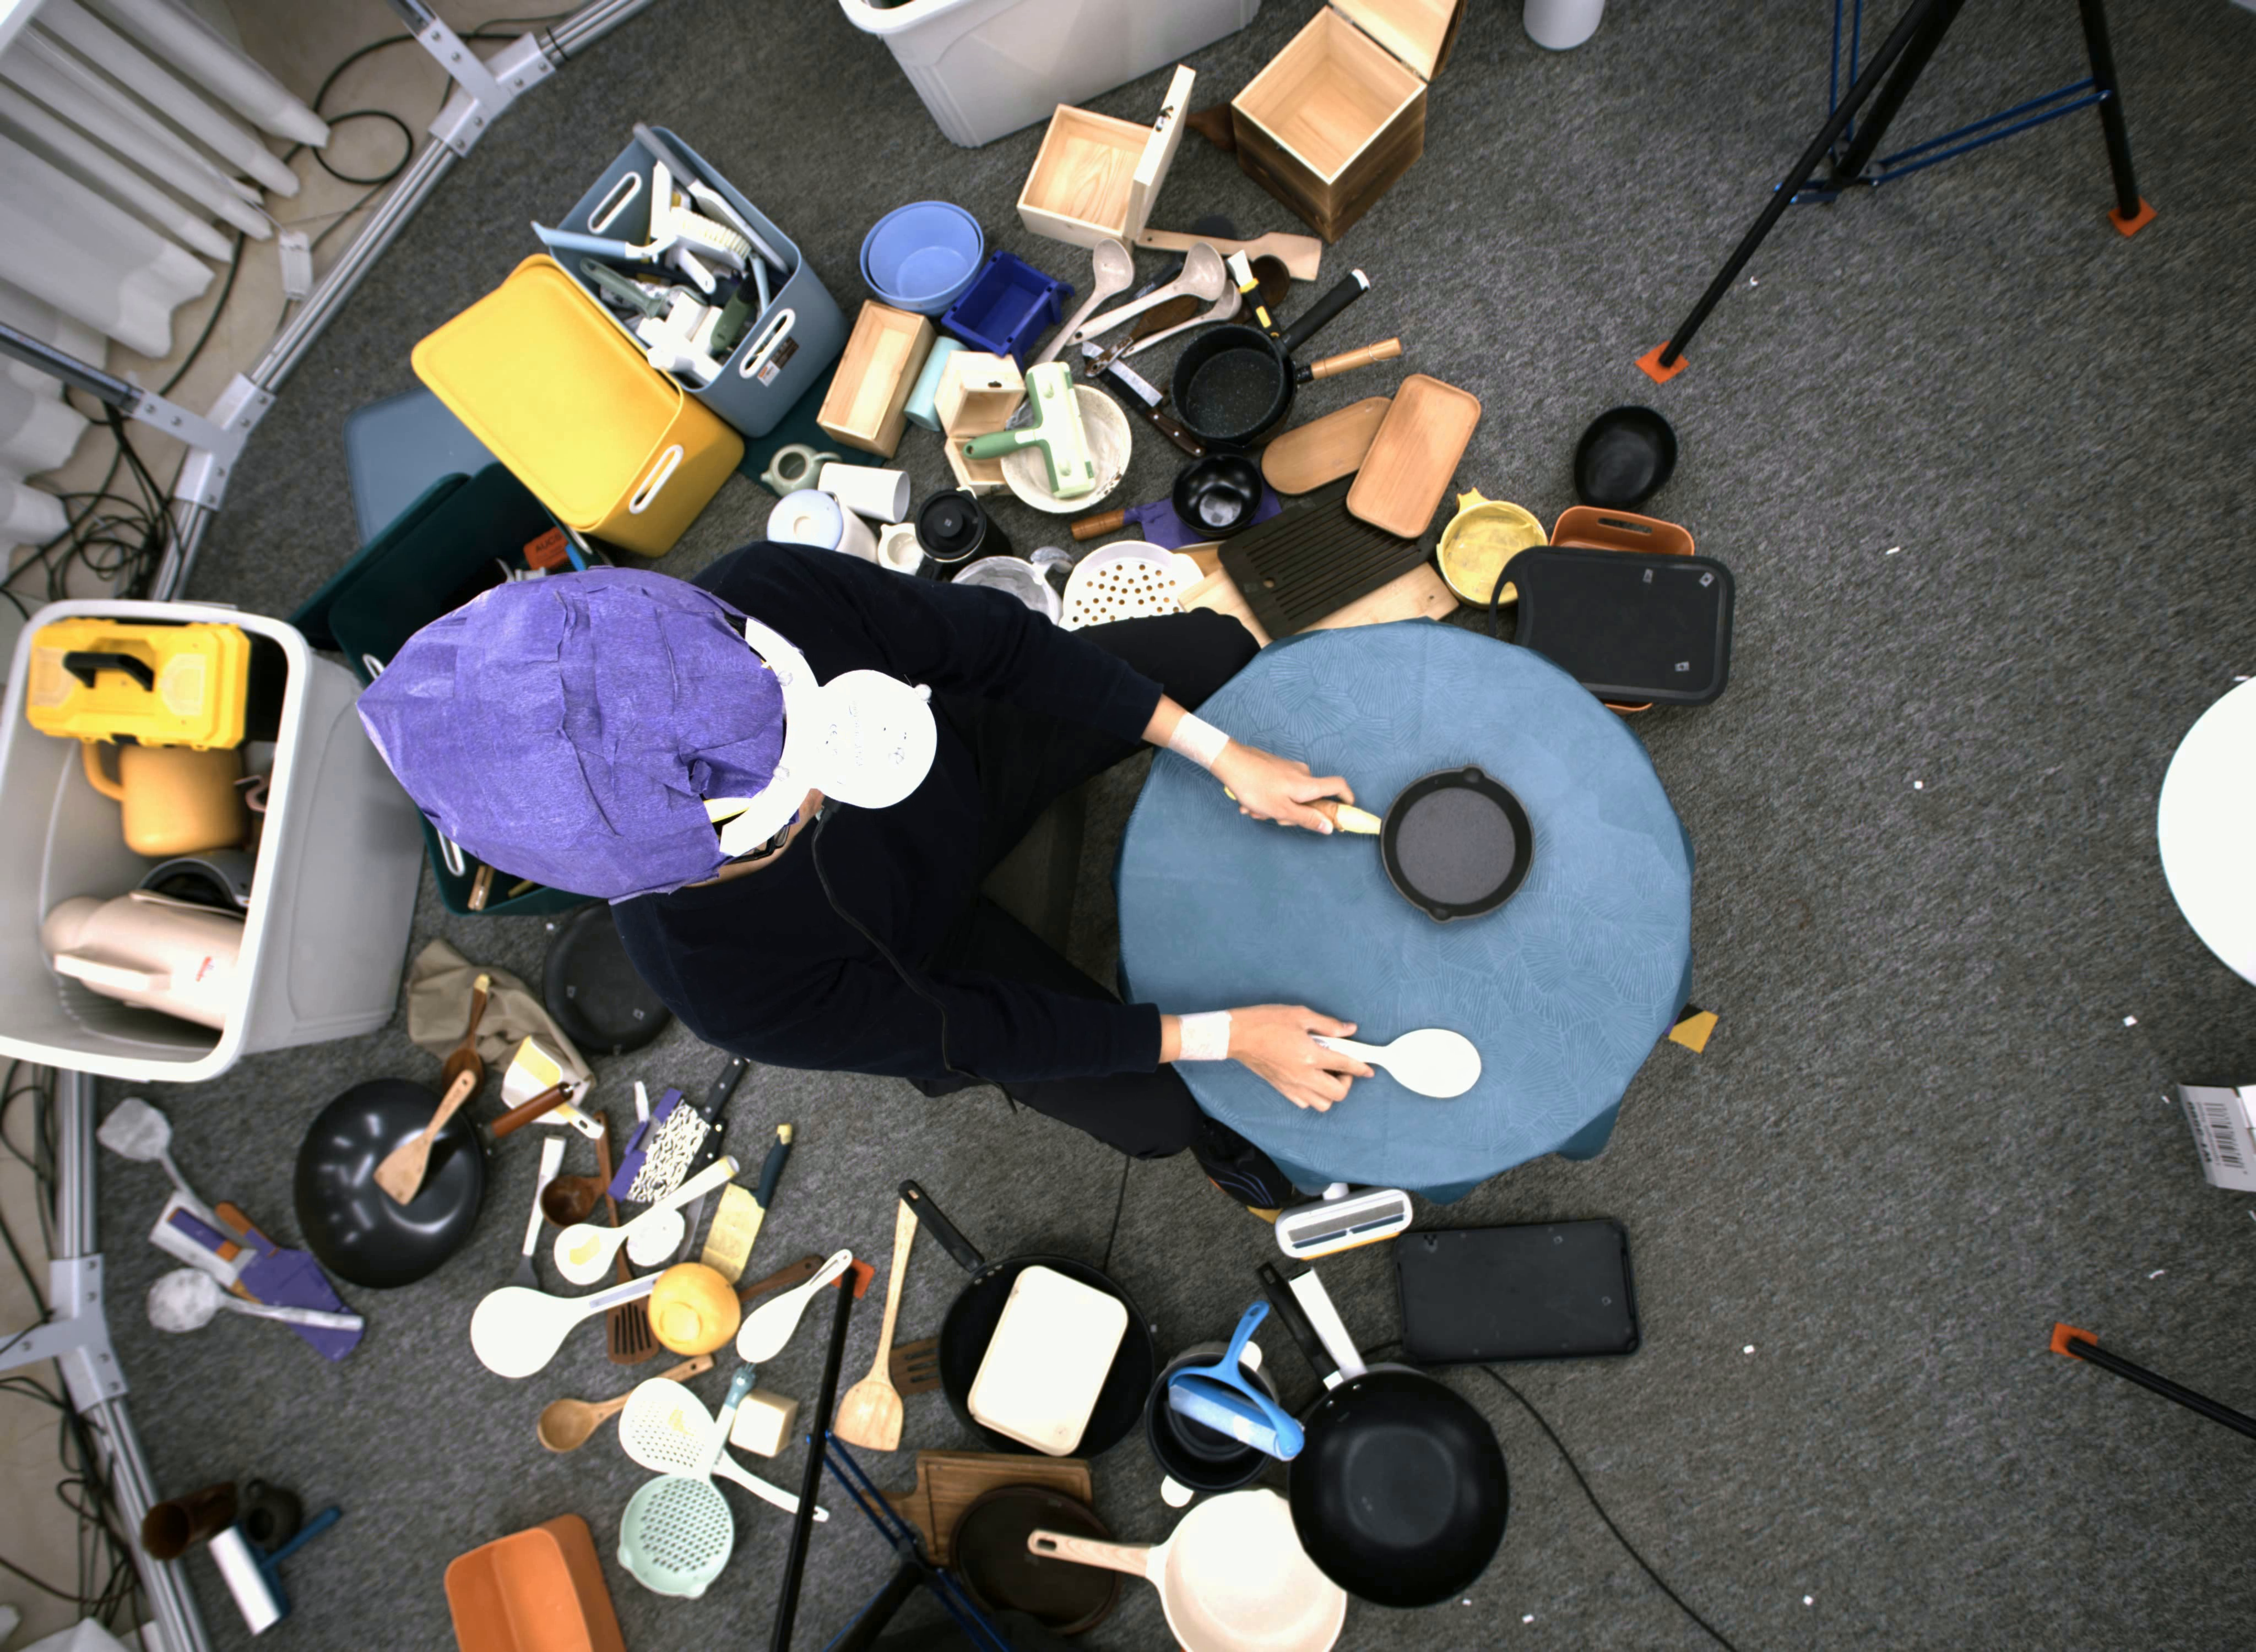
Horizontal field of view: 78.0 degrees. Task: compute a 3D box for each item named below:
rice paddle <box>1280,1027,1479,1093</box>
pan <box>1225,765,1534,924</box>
[{"bbox_3d":[0.261,0.235,1.437,0.206,0.030,0.068,5,77,11],"label":"rice paddle"},{"bbox_3d":[0.260,-0.005,1.440,0.324,0.049,0.169,16,90,9],"label":"pan"}]
